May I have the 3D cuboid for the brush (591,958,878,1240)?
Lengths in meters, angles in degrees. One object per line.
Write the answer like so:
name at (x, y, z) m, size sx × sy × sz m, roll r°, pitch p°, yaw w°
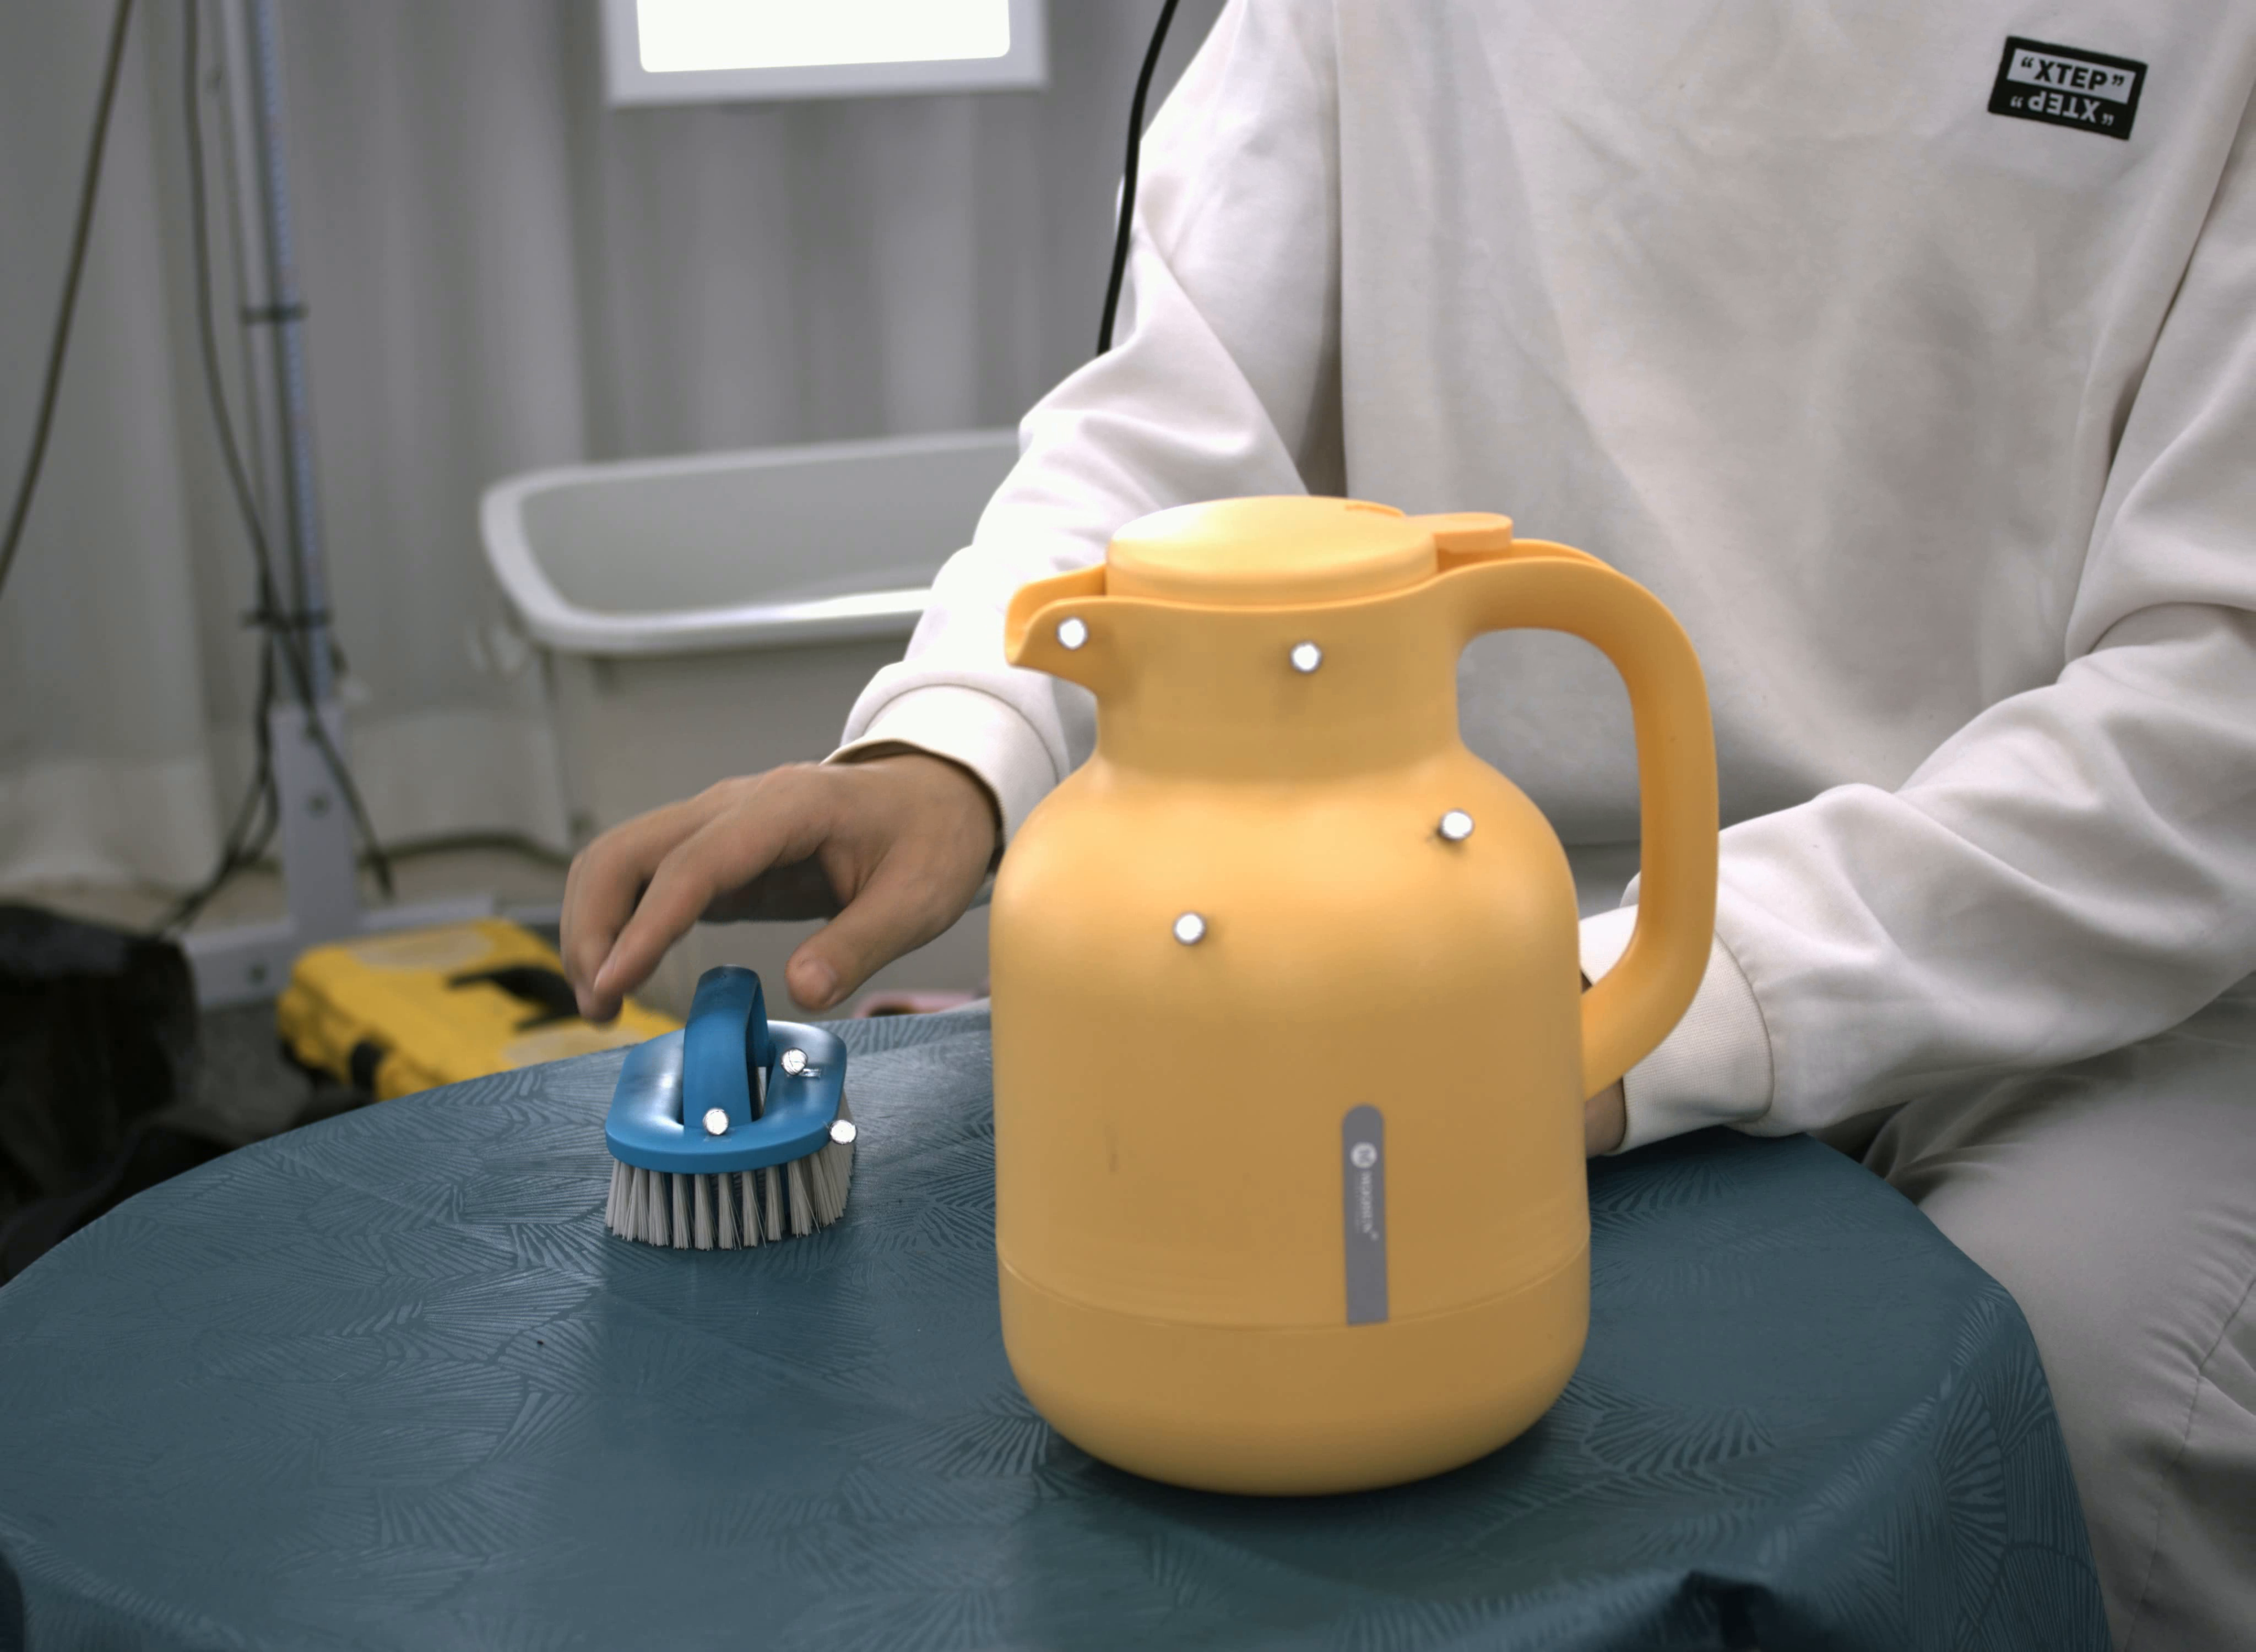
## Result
brush at (-0.126, 0.081, 1.740) m, size 0.084 × 0.063 × 0.142 m, roll -6°, pitch 14°, yaw 4°

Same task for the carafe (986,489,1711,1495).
carafe at (0.062, 0.039, 1.489) m, size 0.201 × 0.259 × 0.165 m, roll -7°, pitch 17°, yaw -11°
